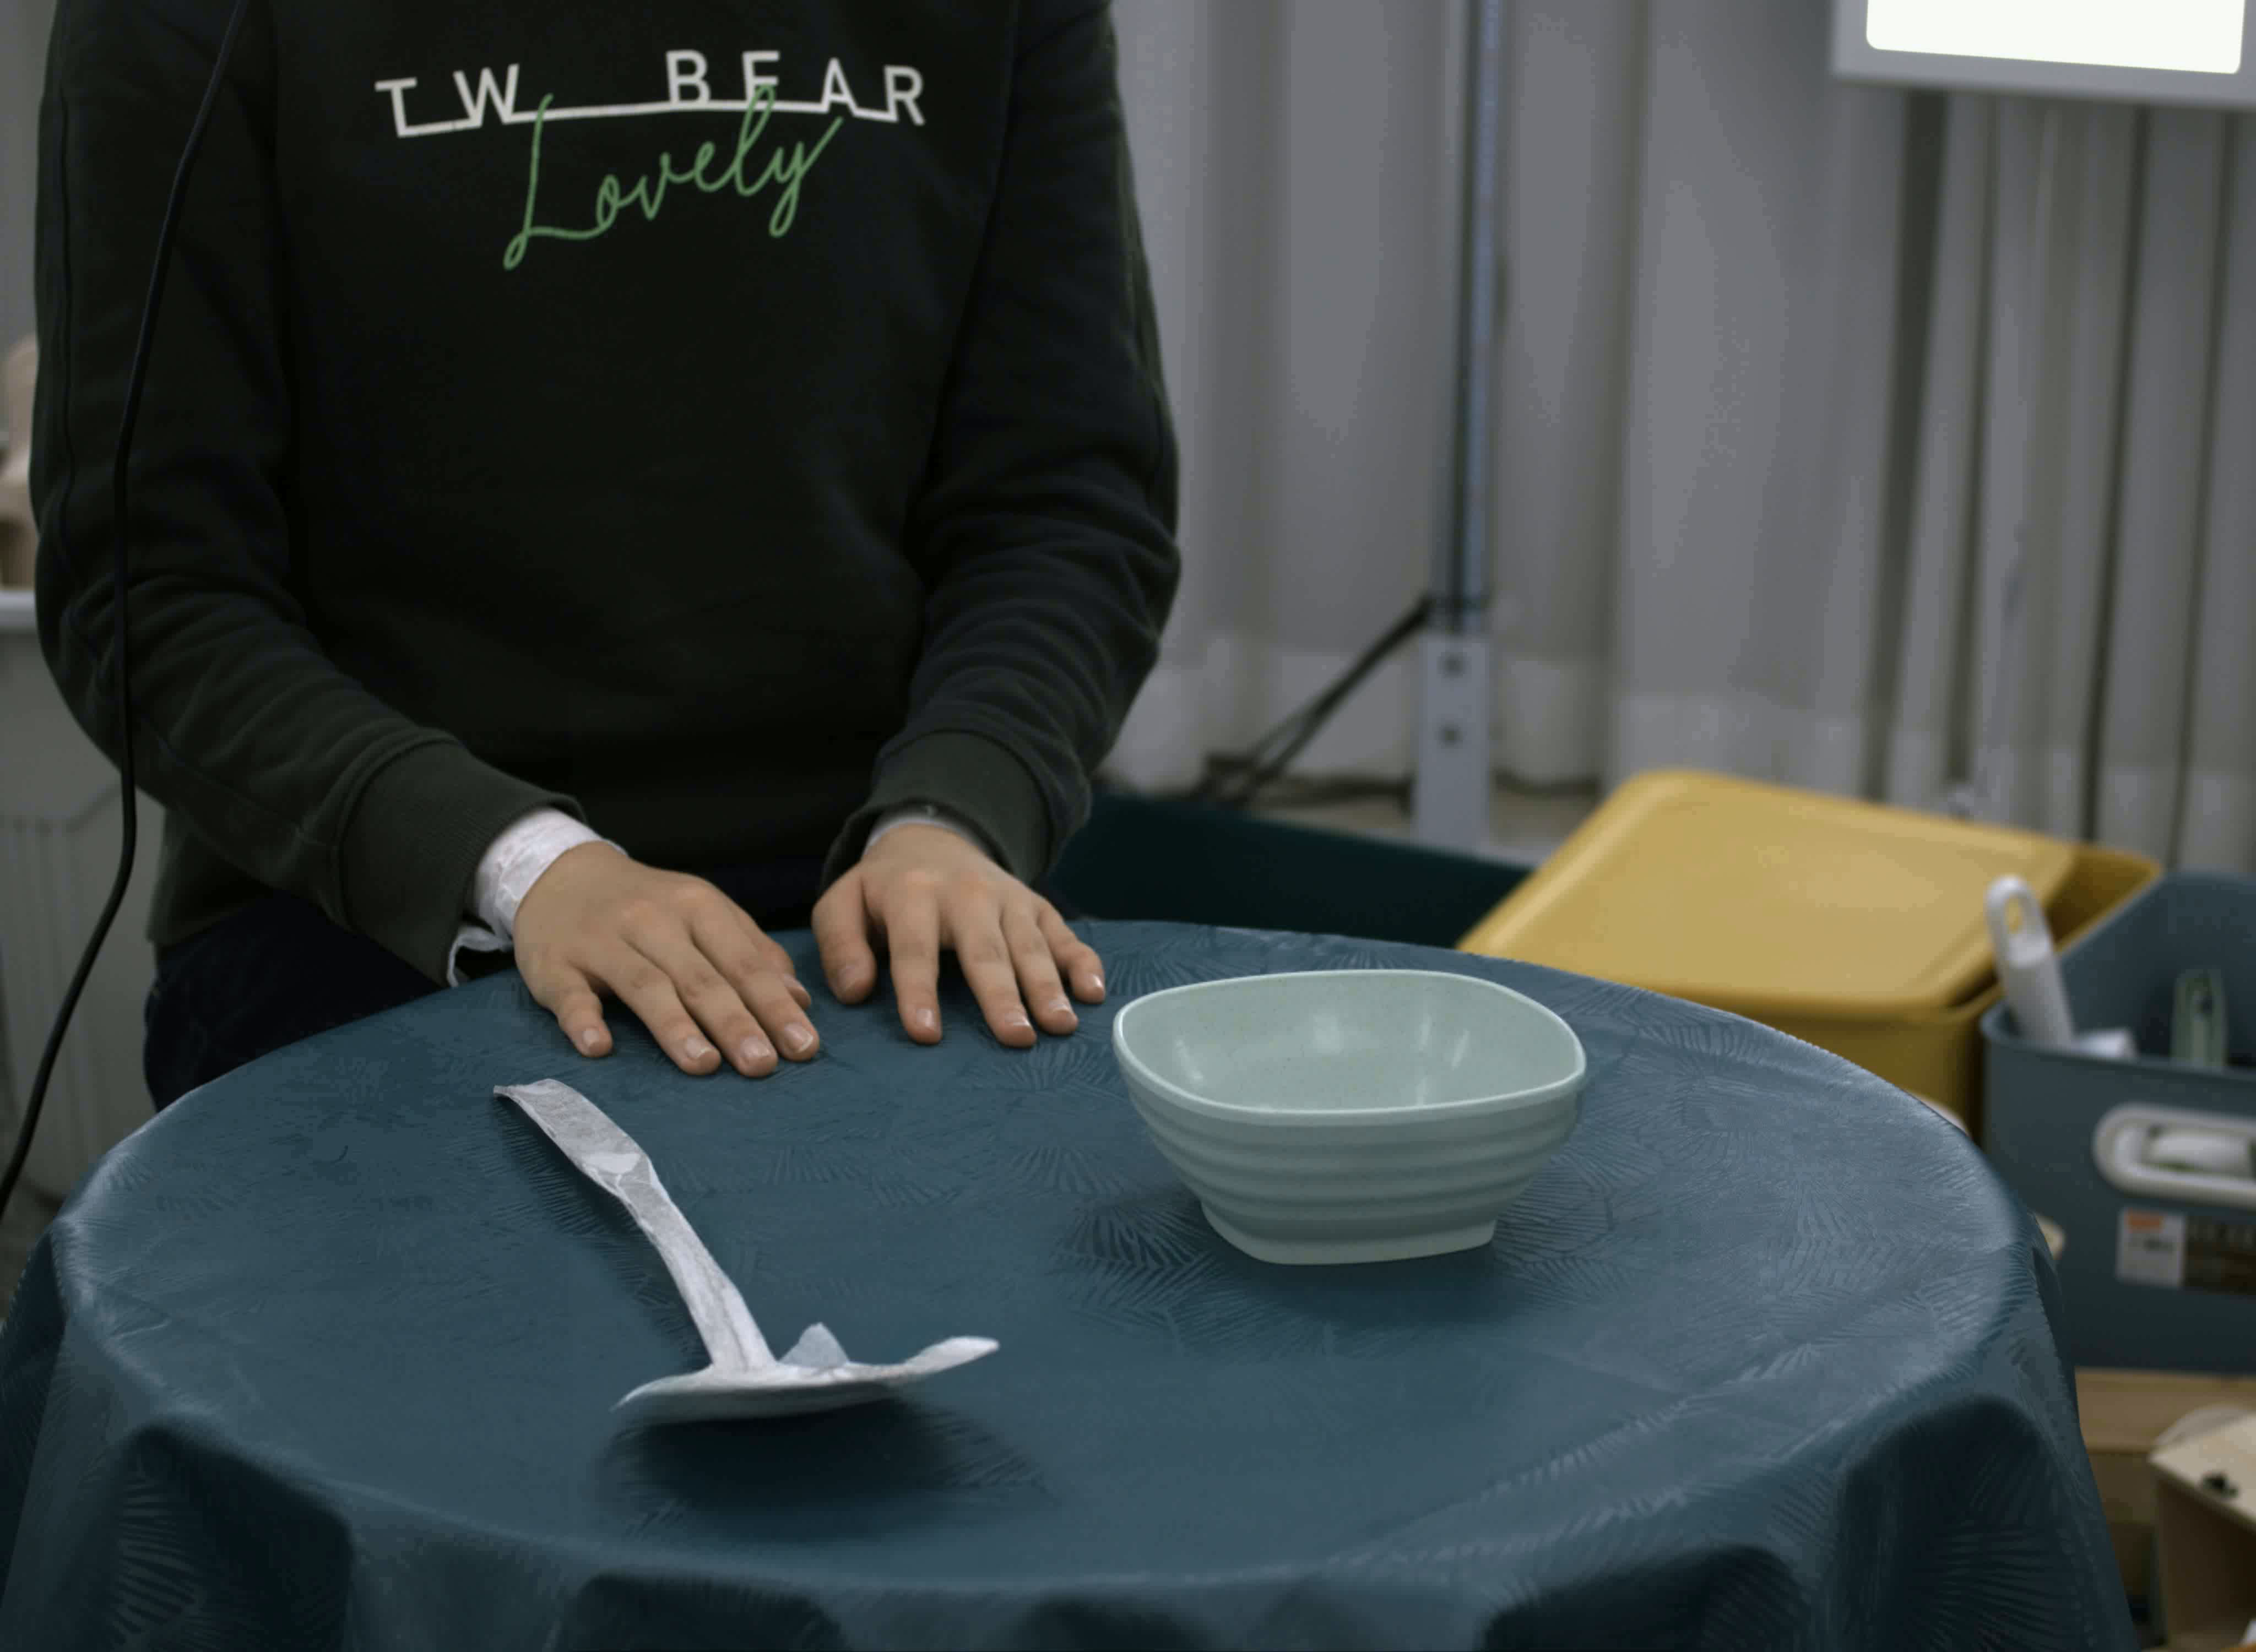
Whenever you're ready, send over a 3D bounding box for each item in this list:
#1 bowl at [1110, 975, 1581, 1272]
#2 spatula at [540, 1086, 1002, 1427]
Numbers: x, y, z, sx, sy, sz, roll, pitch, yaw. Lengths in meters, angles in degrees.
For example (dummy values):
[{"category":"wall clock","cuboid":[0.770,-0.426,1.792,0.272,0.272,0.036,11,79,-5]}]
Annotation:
[{"category":"bowl","cuboid":[0.064,0.093,1.598,0.151,0.059,0.150,3,16,0]},{"category":"spatula","cuboid":[-0.129,0.116,1.538,0.099,0.045,0.361,-7,17,-17]}]
